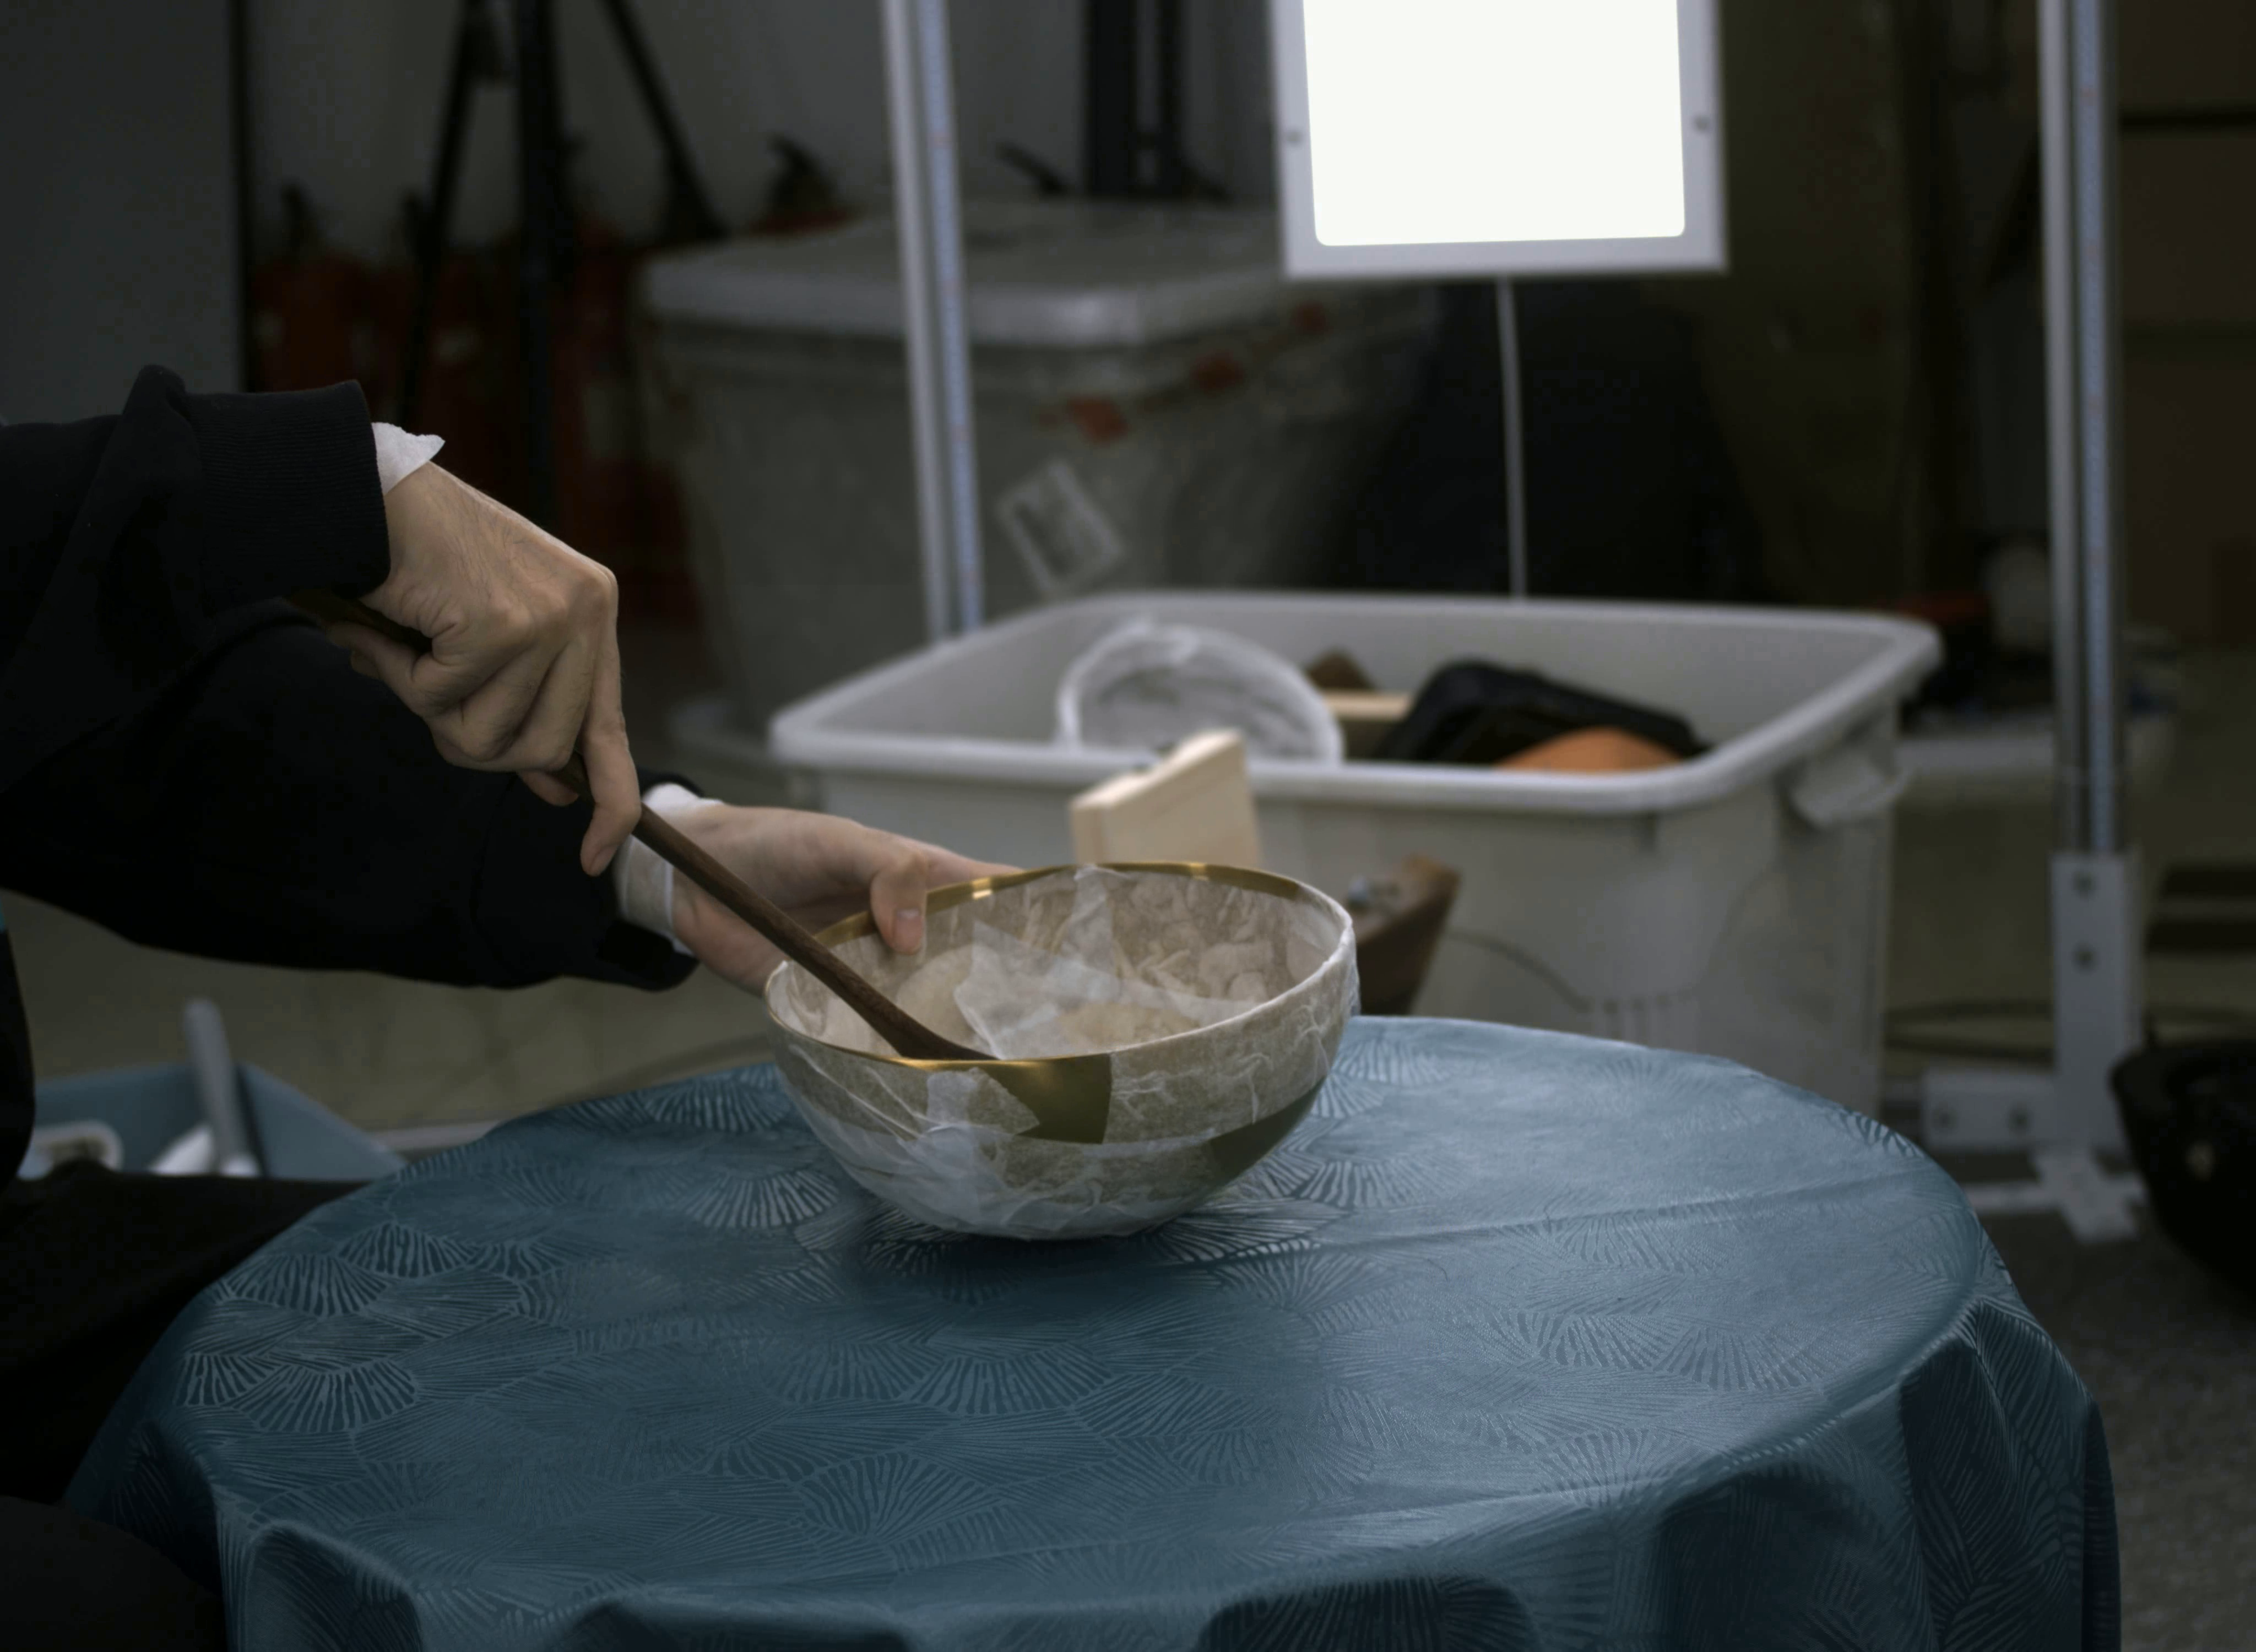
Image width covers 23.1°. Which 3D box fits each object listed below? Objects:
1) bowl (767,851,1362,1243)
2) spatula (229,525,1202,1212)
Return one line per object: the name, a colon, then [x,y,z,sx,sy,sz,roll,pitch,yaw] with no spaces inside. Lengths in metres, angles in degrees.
bowl: [-0.019,0.084,1.873,0.214,0.095,0.214,-8,18,1]
spatula: [-0.134,0.016,1.801,0.015,0.383,0.097,-57,14,-18]
